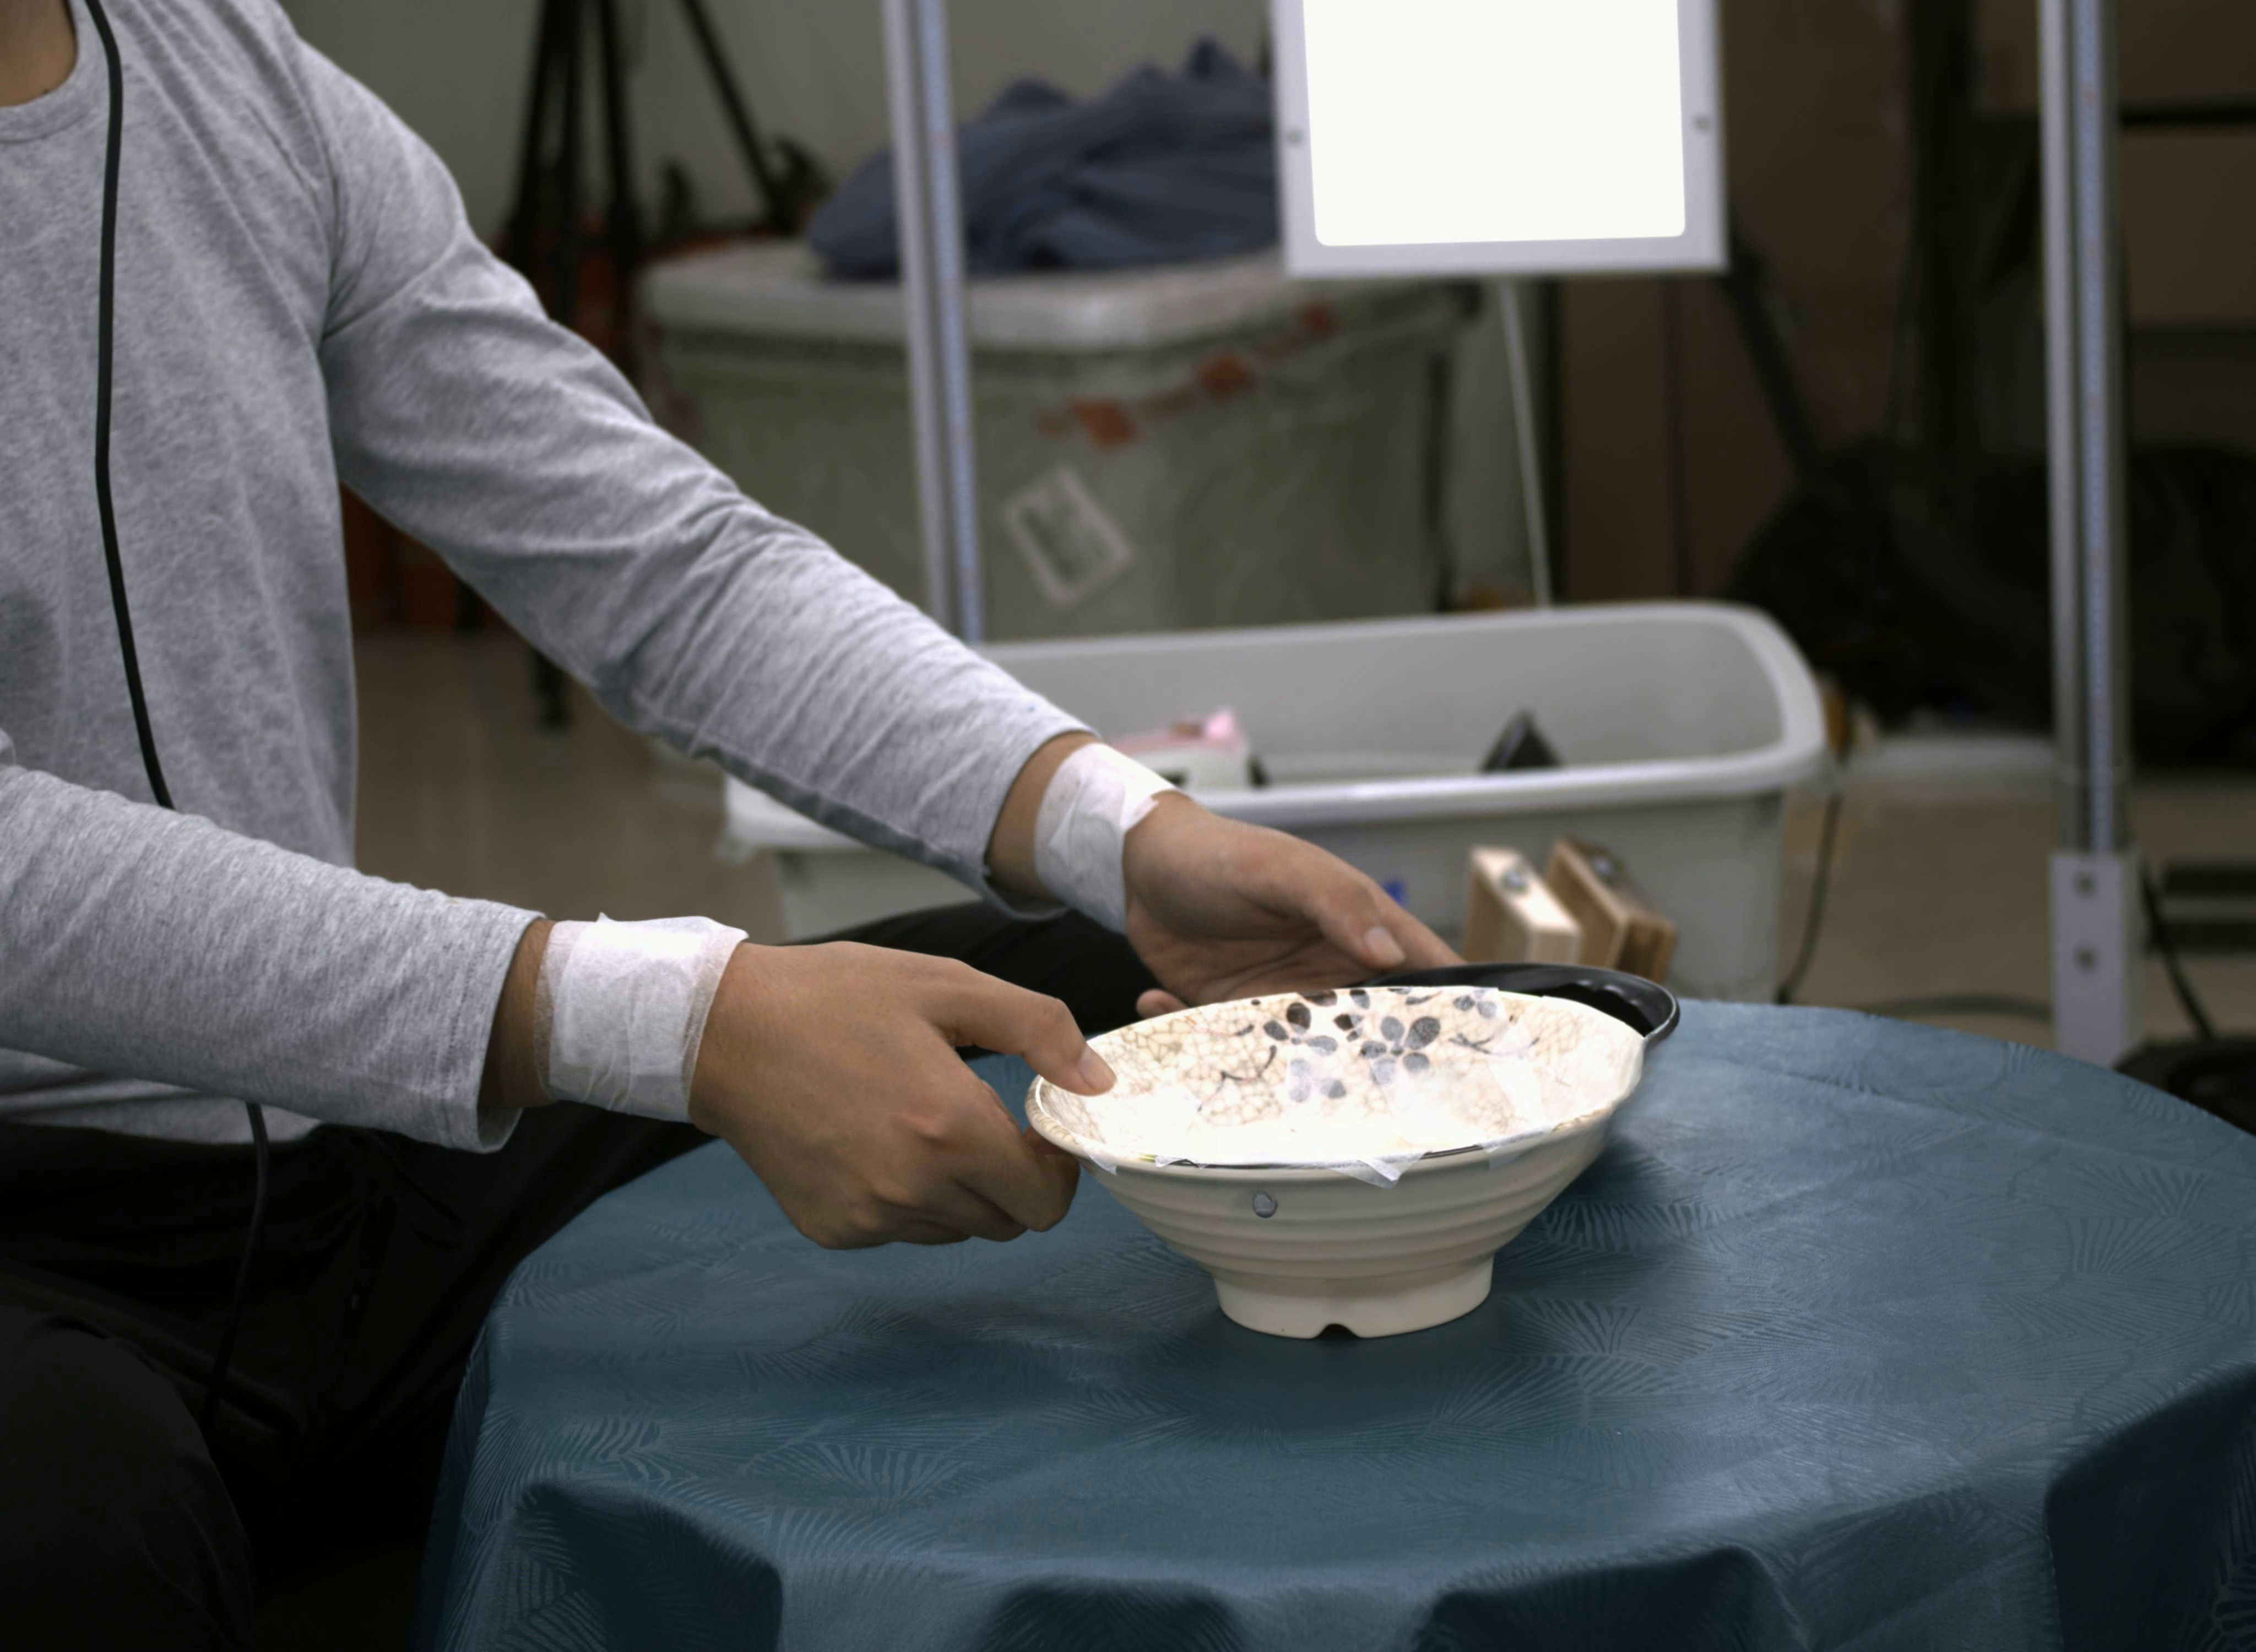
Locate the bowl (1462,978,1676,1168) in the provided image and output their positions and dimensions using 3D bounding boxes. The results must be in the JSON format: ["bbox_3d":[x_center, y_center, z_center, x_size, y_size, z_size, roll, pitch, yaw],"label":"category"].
[{"bbox_3d":[0.124,0.092,1.910,0.139,0.050,0.140,-8,9,0],"label":"bowl"}]

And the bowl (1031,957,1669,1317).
[{"bbox_3d":[0.069,0.106,1.753,0.203,0.078,0.204,1,15,-2],"label":"bowl"}]
